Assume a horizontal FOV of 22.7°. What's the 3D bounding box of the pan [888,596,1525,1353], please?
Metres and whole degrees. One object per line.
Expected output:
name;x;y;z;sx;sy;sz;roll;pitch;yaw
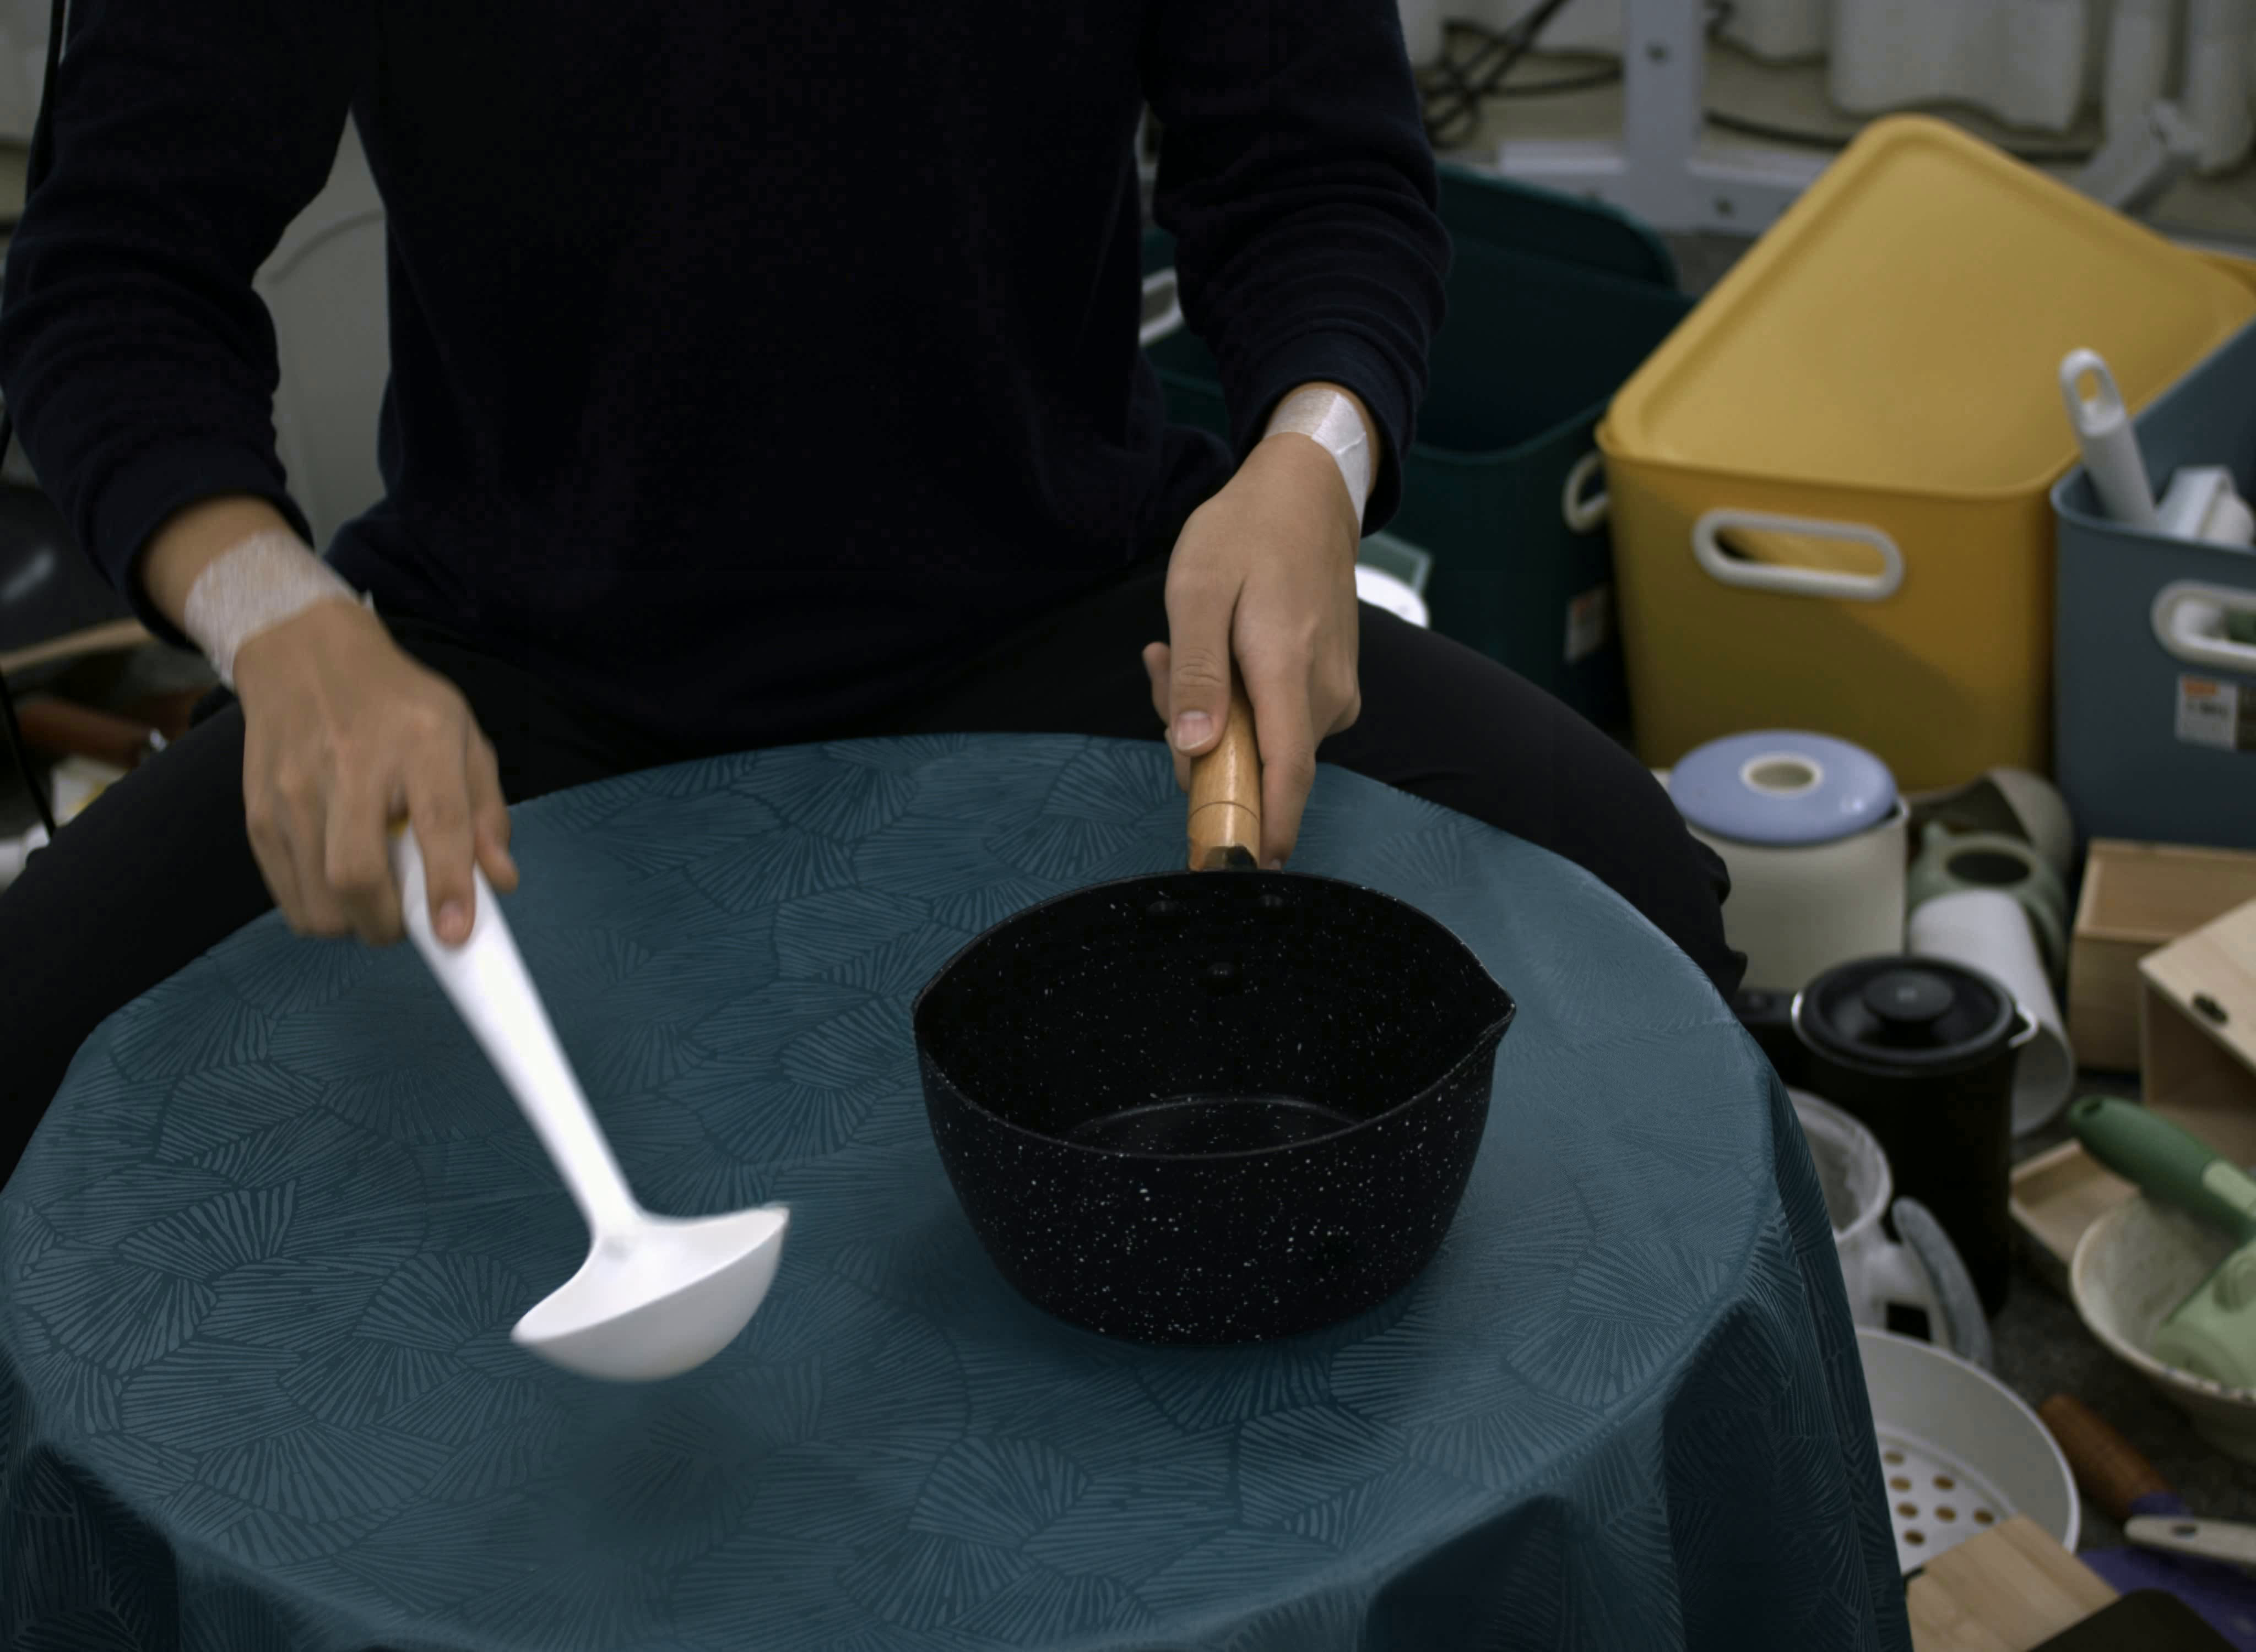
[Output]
pan;0.029;0.046;1.888;0.206;0.107;0.348;-2;29;3

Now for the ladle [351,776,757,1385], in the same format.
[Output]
ladle;-0.194;0.072;1.780;0.090;0.069;0.296;-30;46;-3
